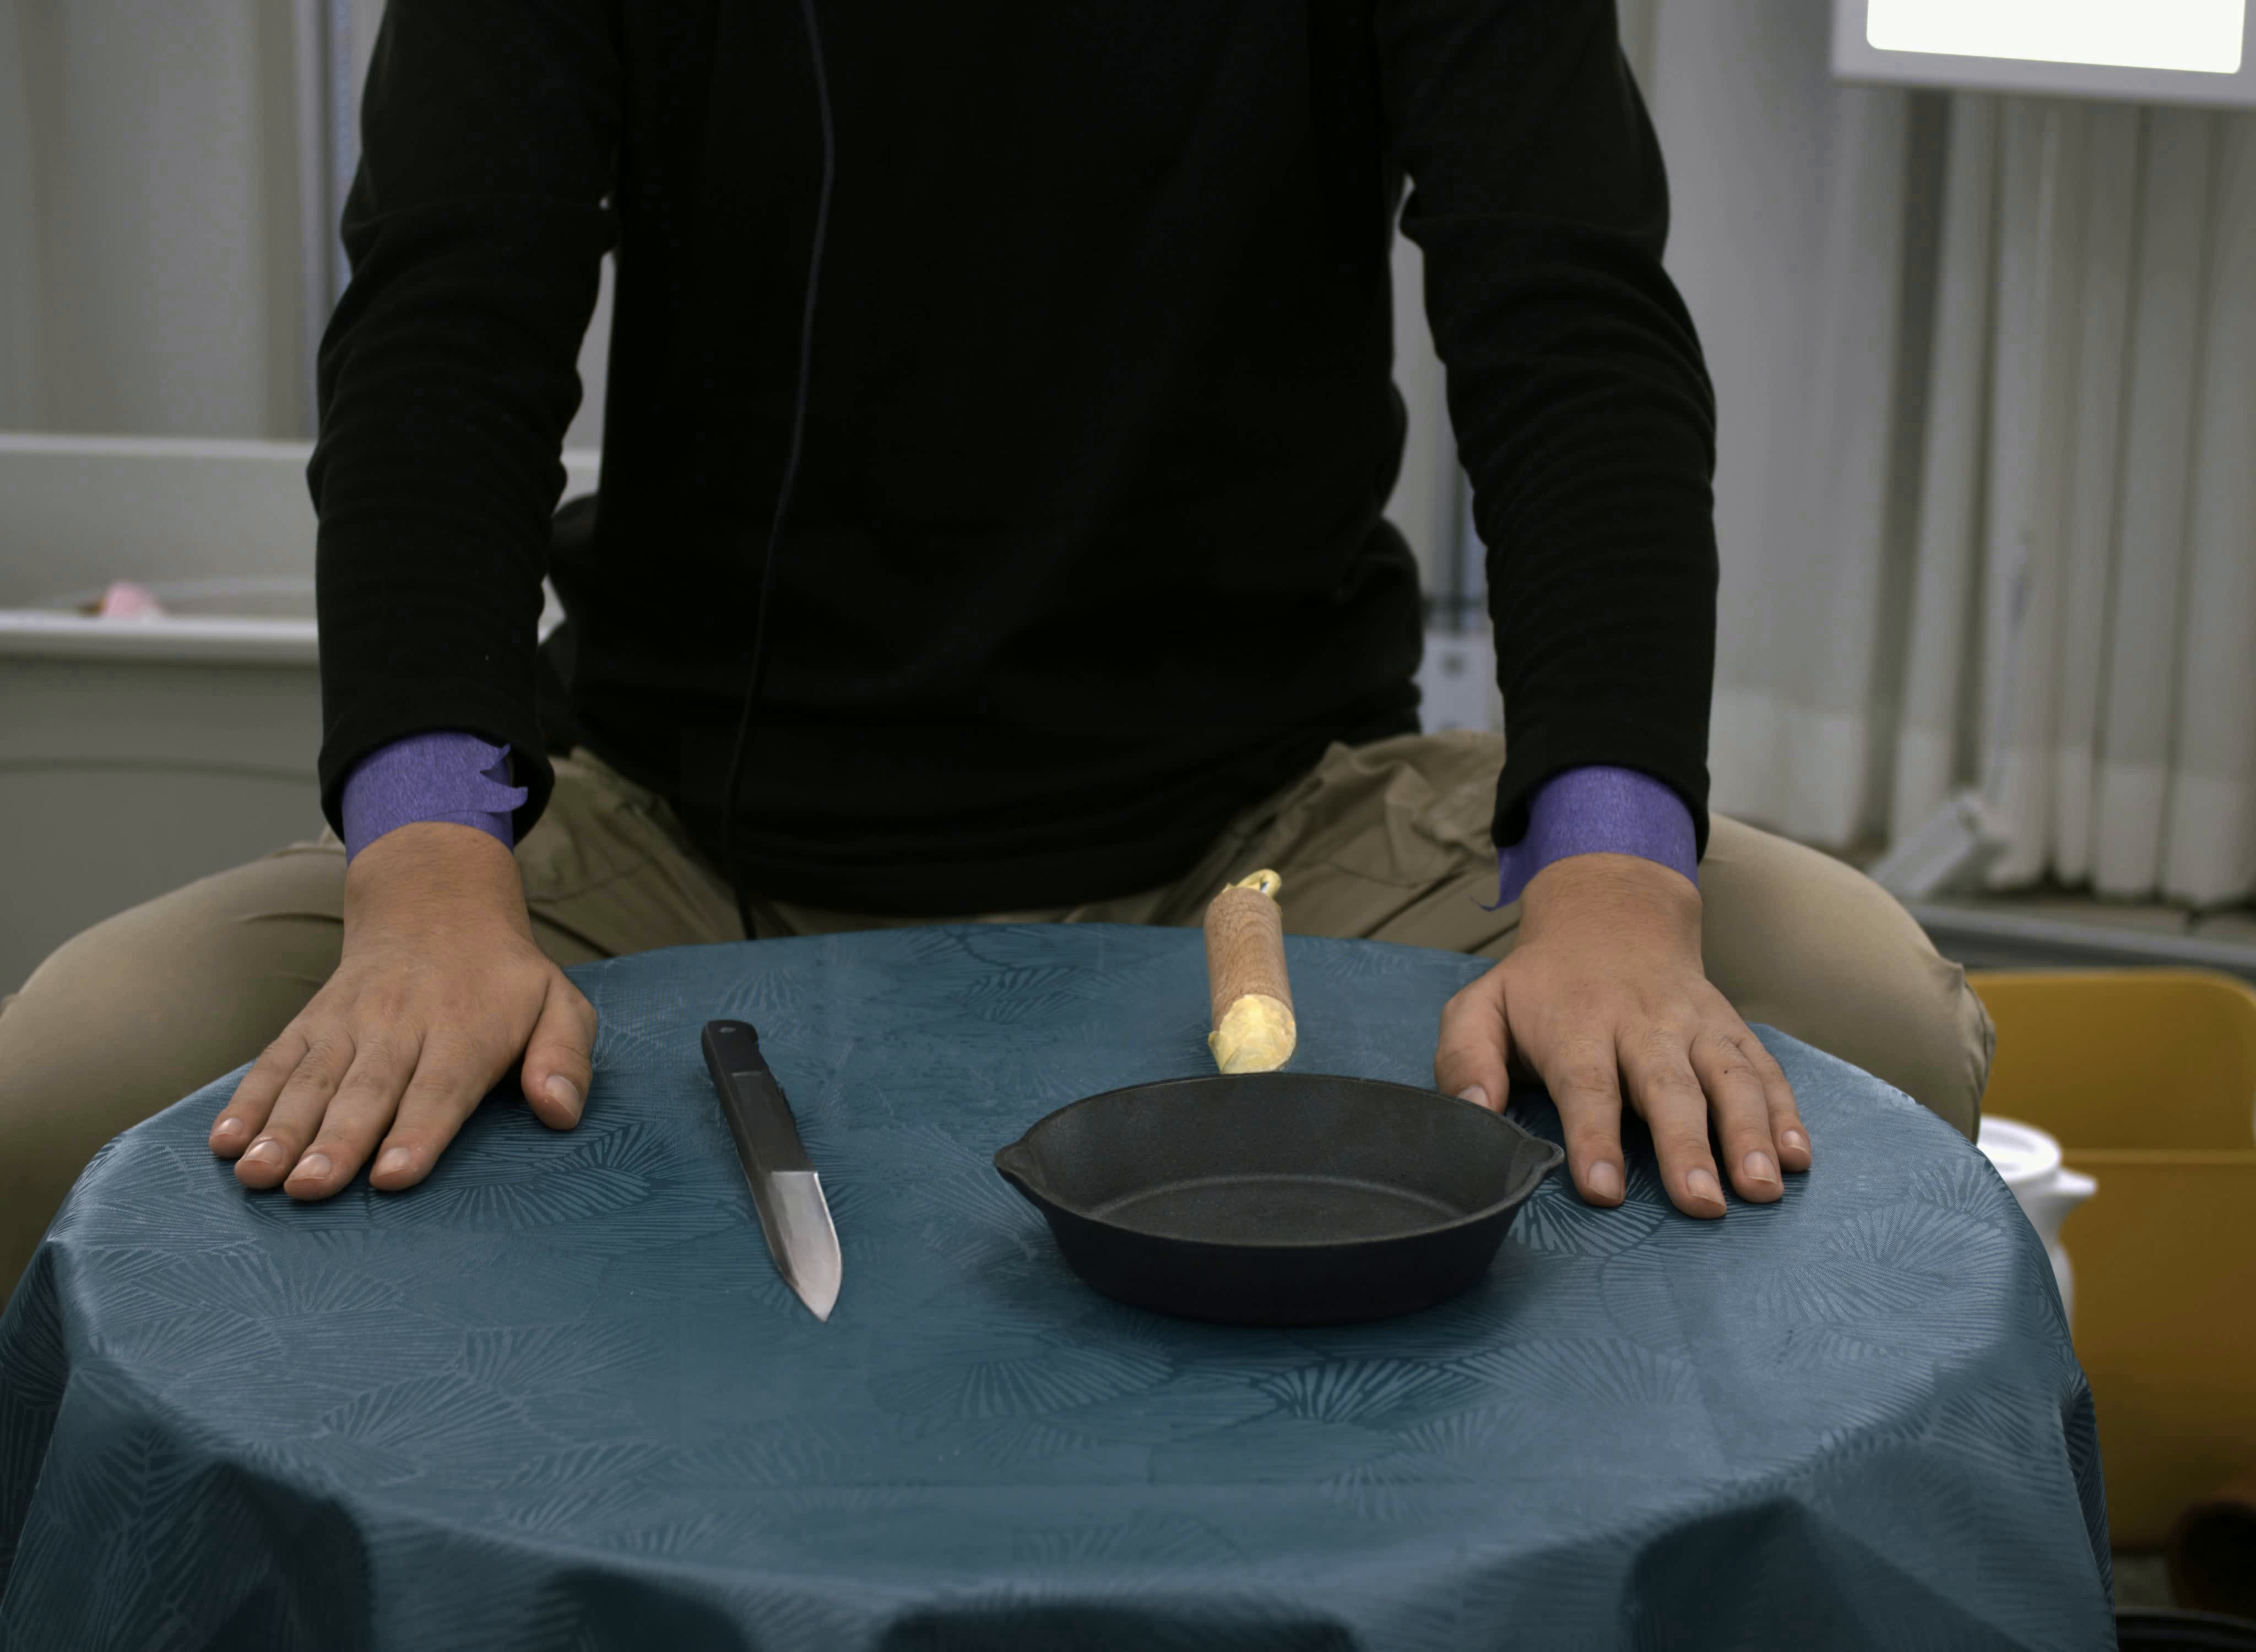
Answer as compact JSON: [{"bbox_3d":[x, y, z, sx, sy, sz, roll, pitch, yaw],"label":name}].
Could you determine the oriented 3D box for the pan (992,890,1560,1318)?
[{"bbox_3d":[0.044,0.083,1.642,0.168,0.050,0.322,0,15,0],"label":"pan"}]

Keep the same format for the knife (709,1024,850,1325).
[{"bbox_3d":[-0.108,0.106,1.620,0.024,0.016,0.236,-1,18,-11],"label":"knife"}]
